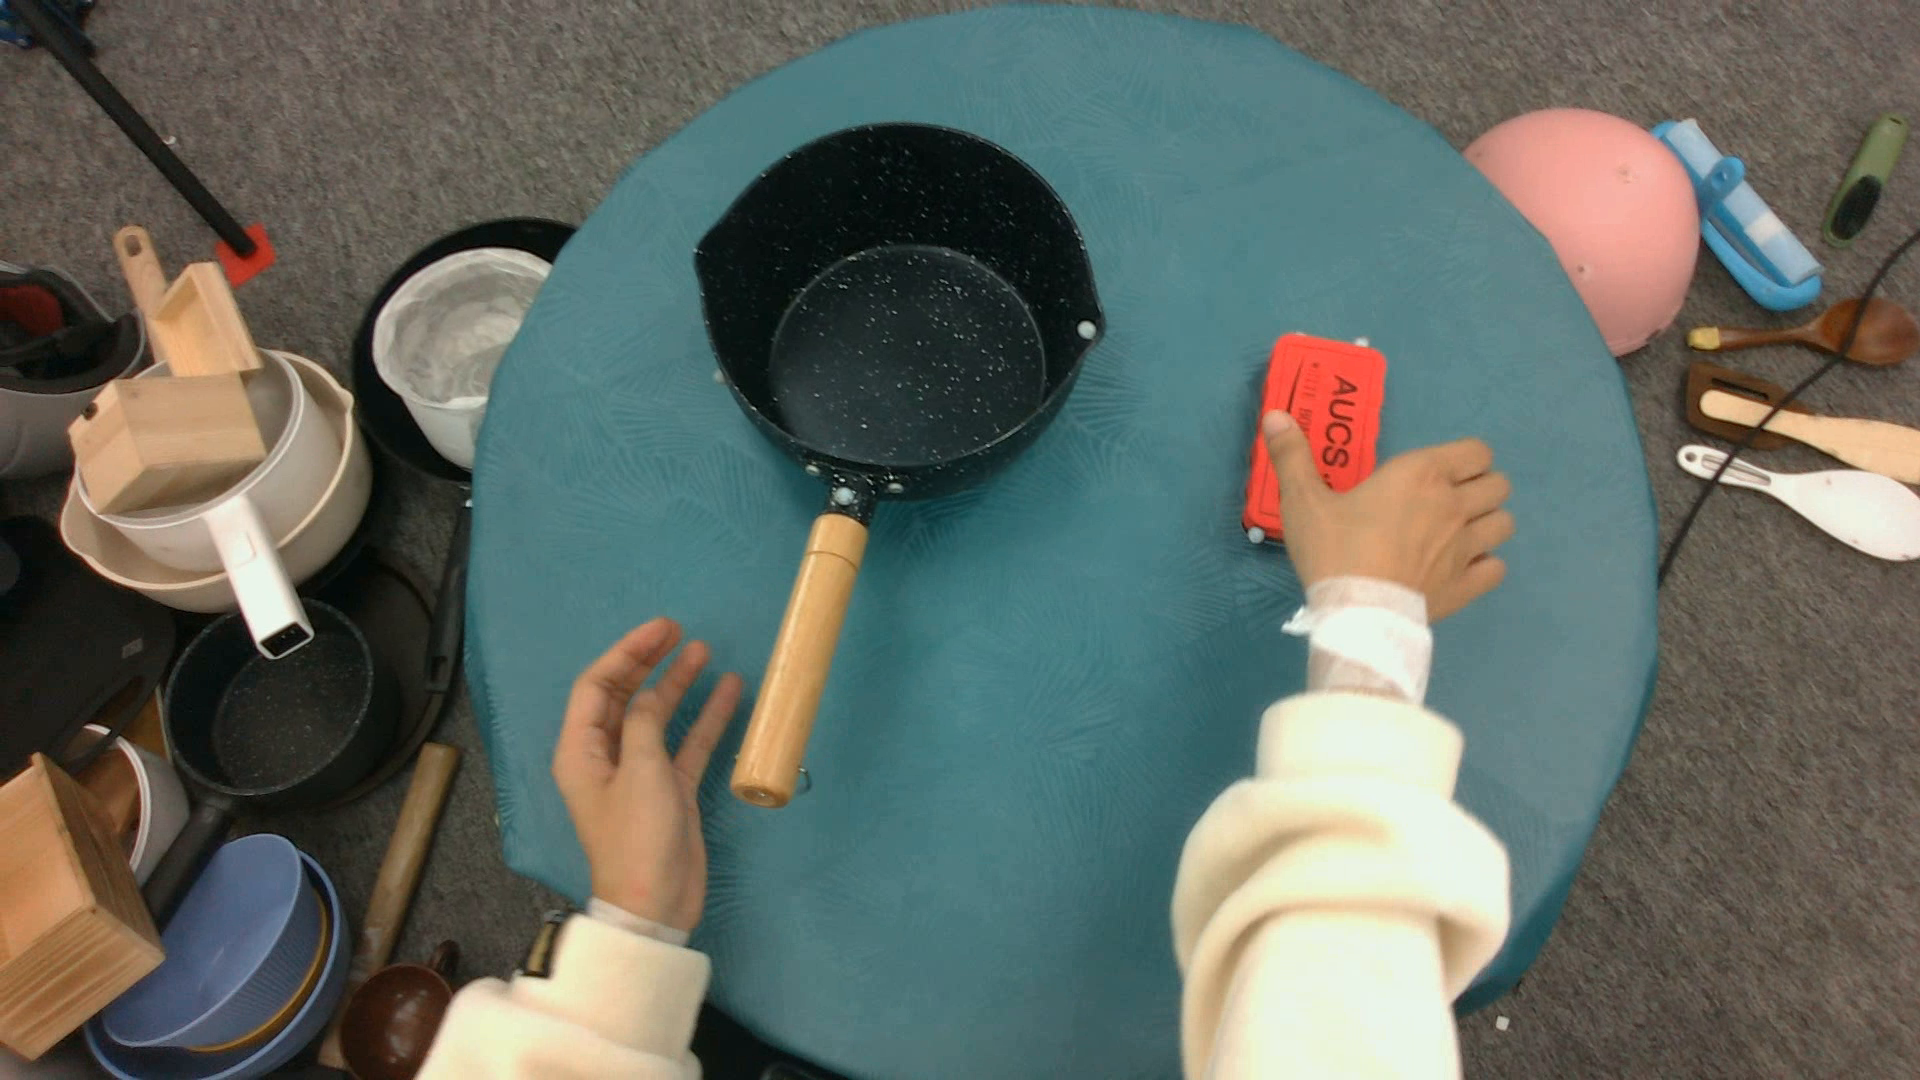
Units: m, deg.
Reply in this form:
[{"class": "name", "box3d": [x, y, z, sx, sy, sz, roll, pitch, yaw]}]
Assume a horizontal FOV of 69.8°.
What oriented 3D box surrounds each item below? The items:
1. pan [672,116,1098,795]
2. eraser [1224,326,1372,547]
[{"class": "pan", "box3d": [-0.050, -0.039, 0.648, 0.207, 0.108, 0.344, 10, 68, 3]}, {"class": "eraser", "box3d": [0.171, -0.053, 0.697, 0.059, 0.023, 0.108, 13, 70, 5]}]
